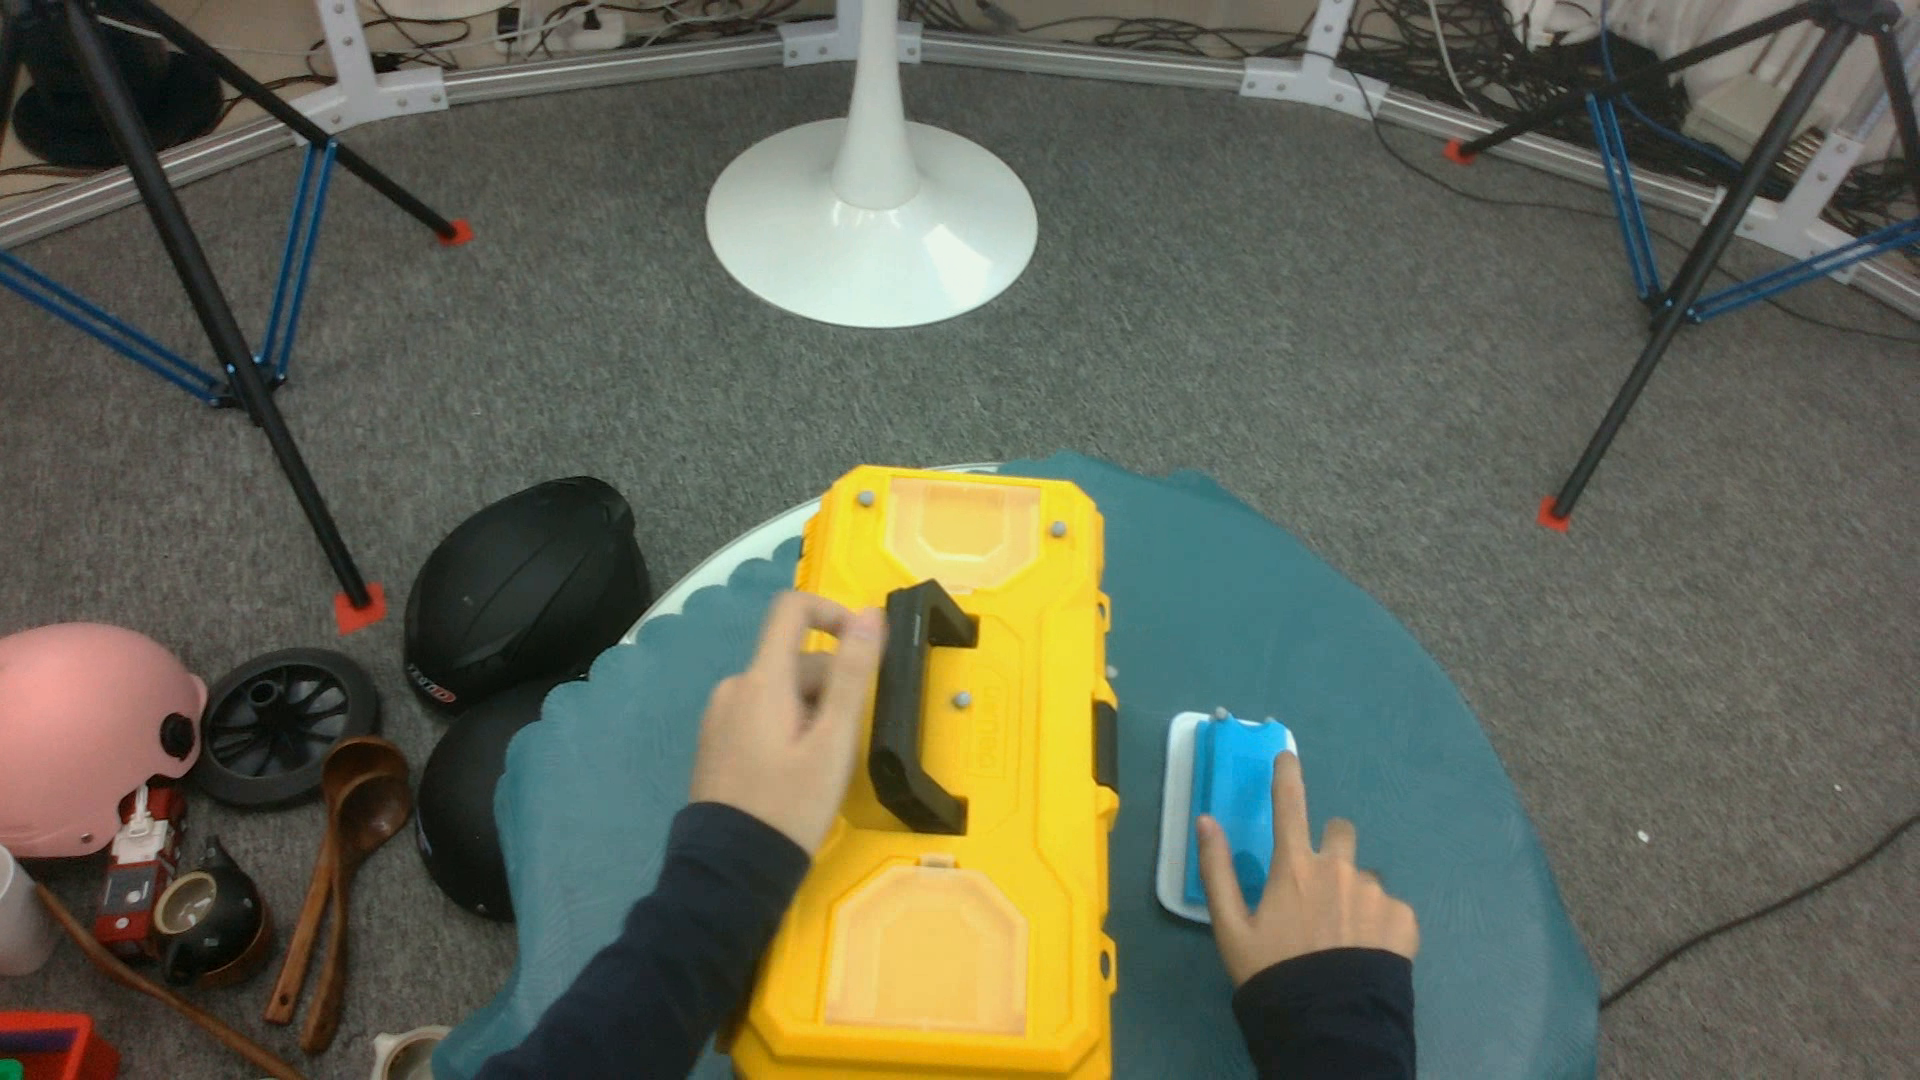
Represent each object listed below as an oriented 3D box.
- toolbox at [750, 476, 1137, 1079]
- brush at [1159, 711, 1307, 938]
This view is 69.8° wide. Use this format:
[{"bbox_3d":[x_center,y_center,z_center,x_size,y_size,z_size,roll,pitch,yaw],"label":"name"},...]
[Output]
[{"bbox_3d":[-0.008,0.142,0.744,0.181,0.172,0.353,3,50,-1],"label":"toolbox"},{"bbox_3d":[0.166,0.160,0.815,0.084,0.055,0.144,8,48,7],"label":"brush"}]
